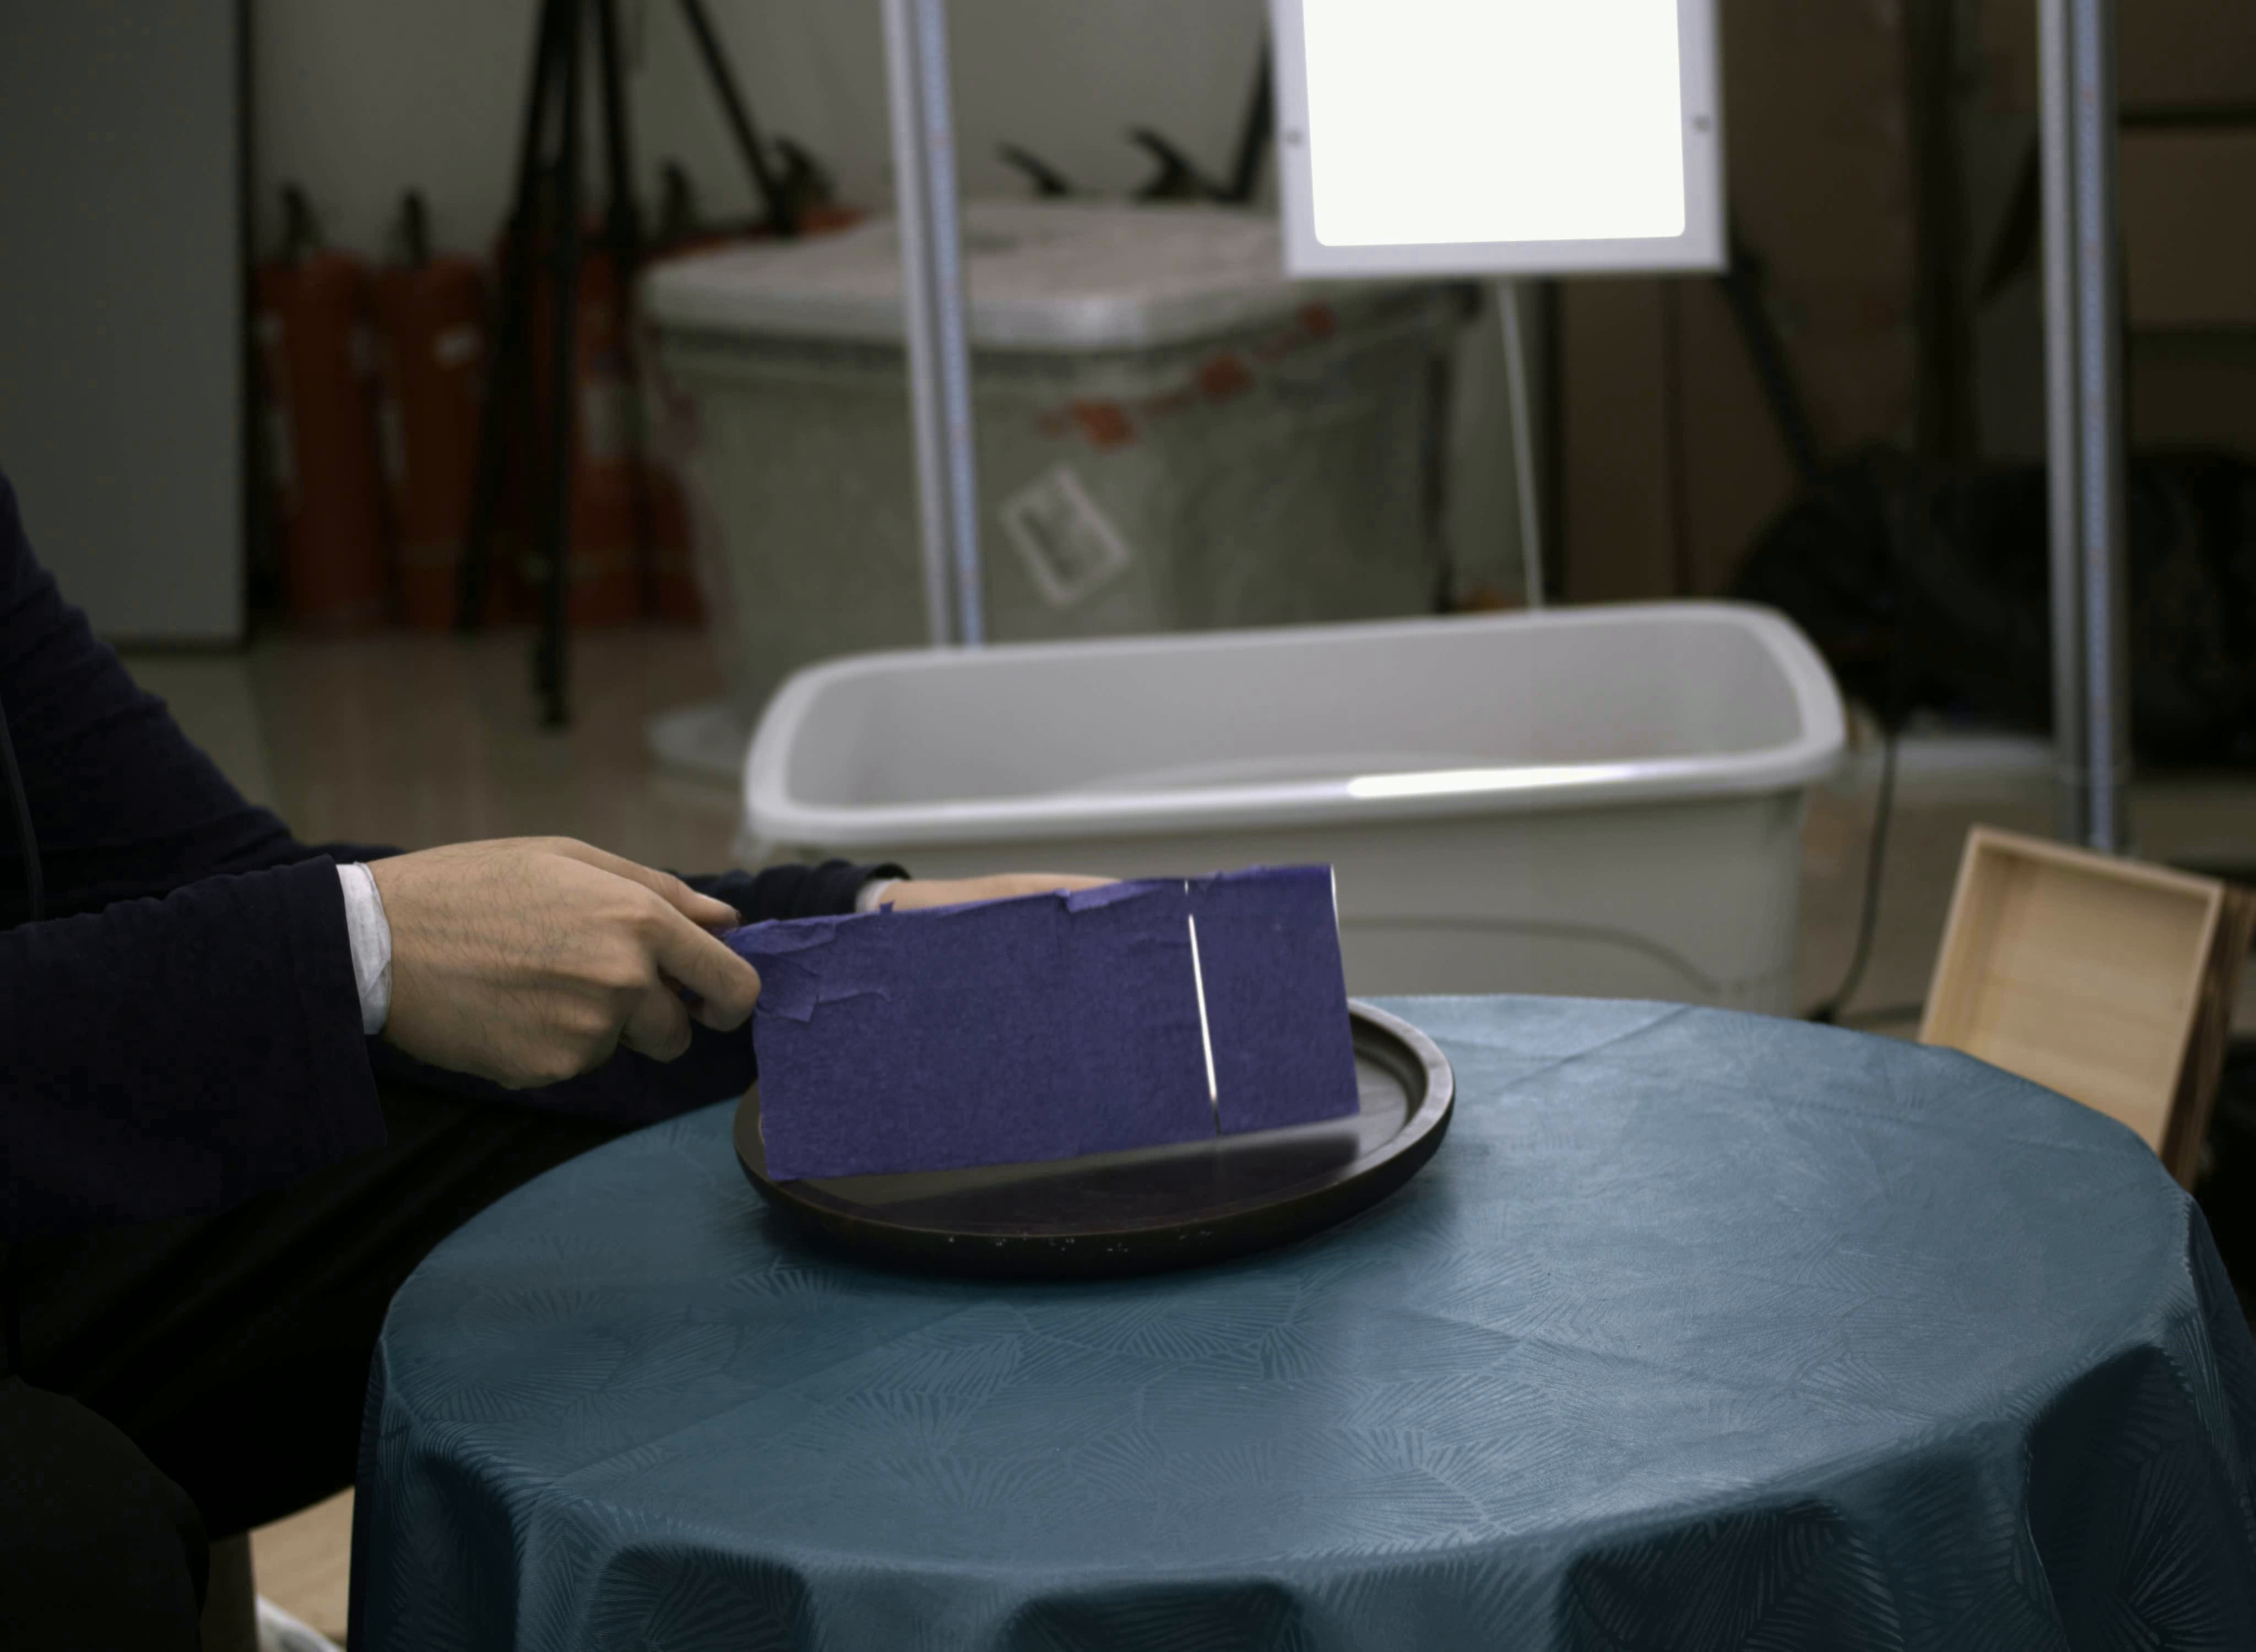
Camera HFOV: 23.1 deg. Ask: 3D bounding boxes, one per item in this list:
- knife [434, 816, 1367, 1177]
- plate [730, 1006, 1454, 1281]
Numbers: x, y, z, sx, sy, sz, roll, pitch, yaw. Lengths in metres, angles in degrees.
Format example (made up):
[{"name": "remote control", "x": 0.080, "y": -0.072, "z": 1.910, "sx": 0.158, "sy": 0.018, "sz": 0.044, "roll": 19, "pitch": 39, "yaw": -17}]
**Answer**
[{"name": "knife", "x": -0.074, "y": 0.068, "z": 1.865, "sx": 0.313, "sy": 0.104, "sz": 0.032, "roll": -8, "pitch": 3, "yaw": -5}, {"name": "plate", "x": -0.012, "y": 0.103, "z": 1.918, "sx": 0.254, "sy": 0.029, "sz": 0.254, "roll": -5, "pitch": 19, "yaw": 0}]
